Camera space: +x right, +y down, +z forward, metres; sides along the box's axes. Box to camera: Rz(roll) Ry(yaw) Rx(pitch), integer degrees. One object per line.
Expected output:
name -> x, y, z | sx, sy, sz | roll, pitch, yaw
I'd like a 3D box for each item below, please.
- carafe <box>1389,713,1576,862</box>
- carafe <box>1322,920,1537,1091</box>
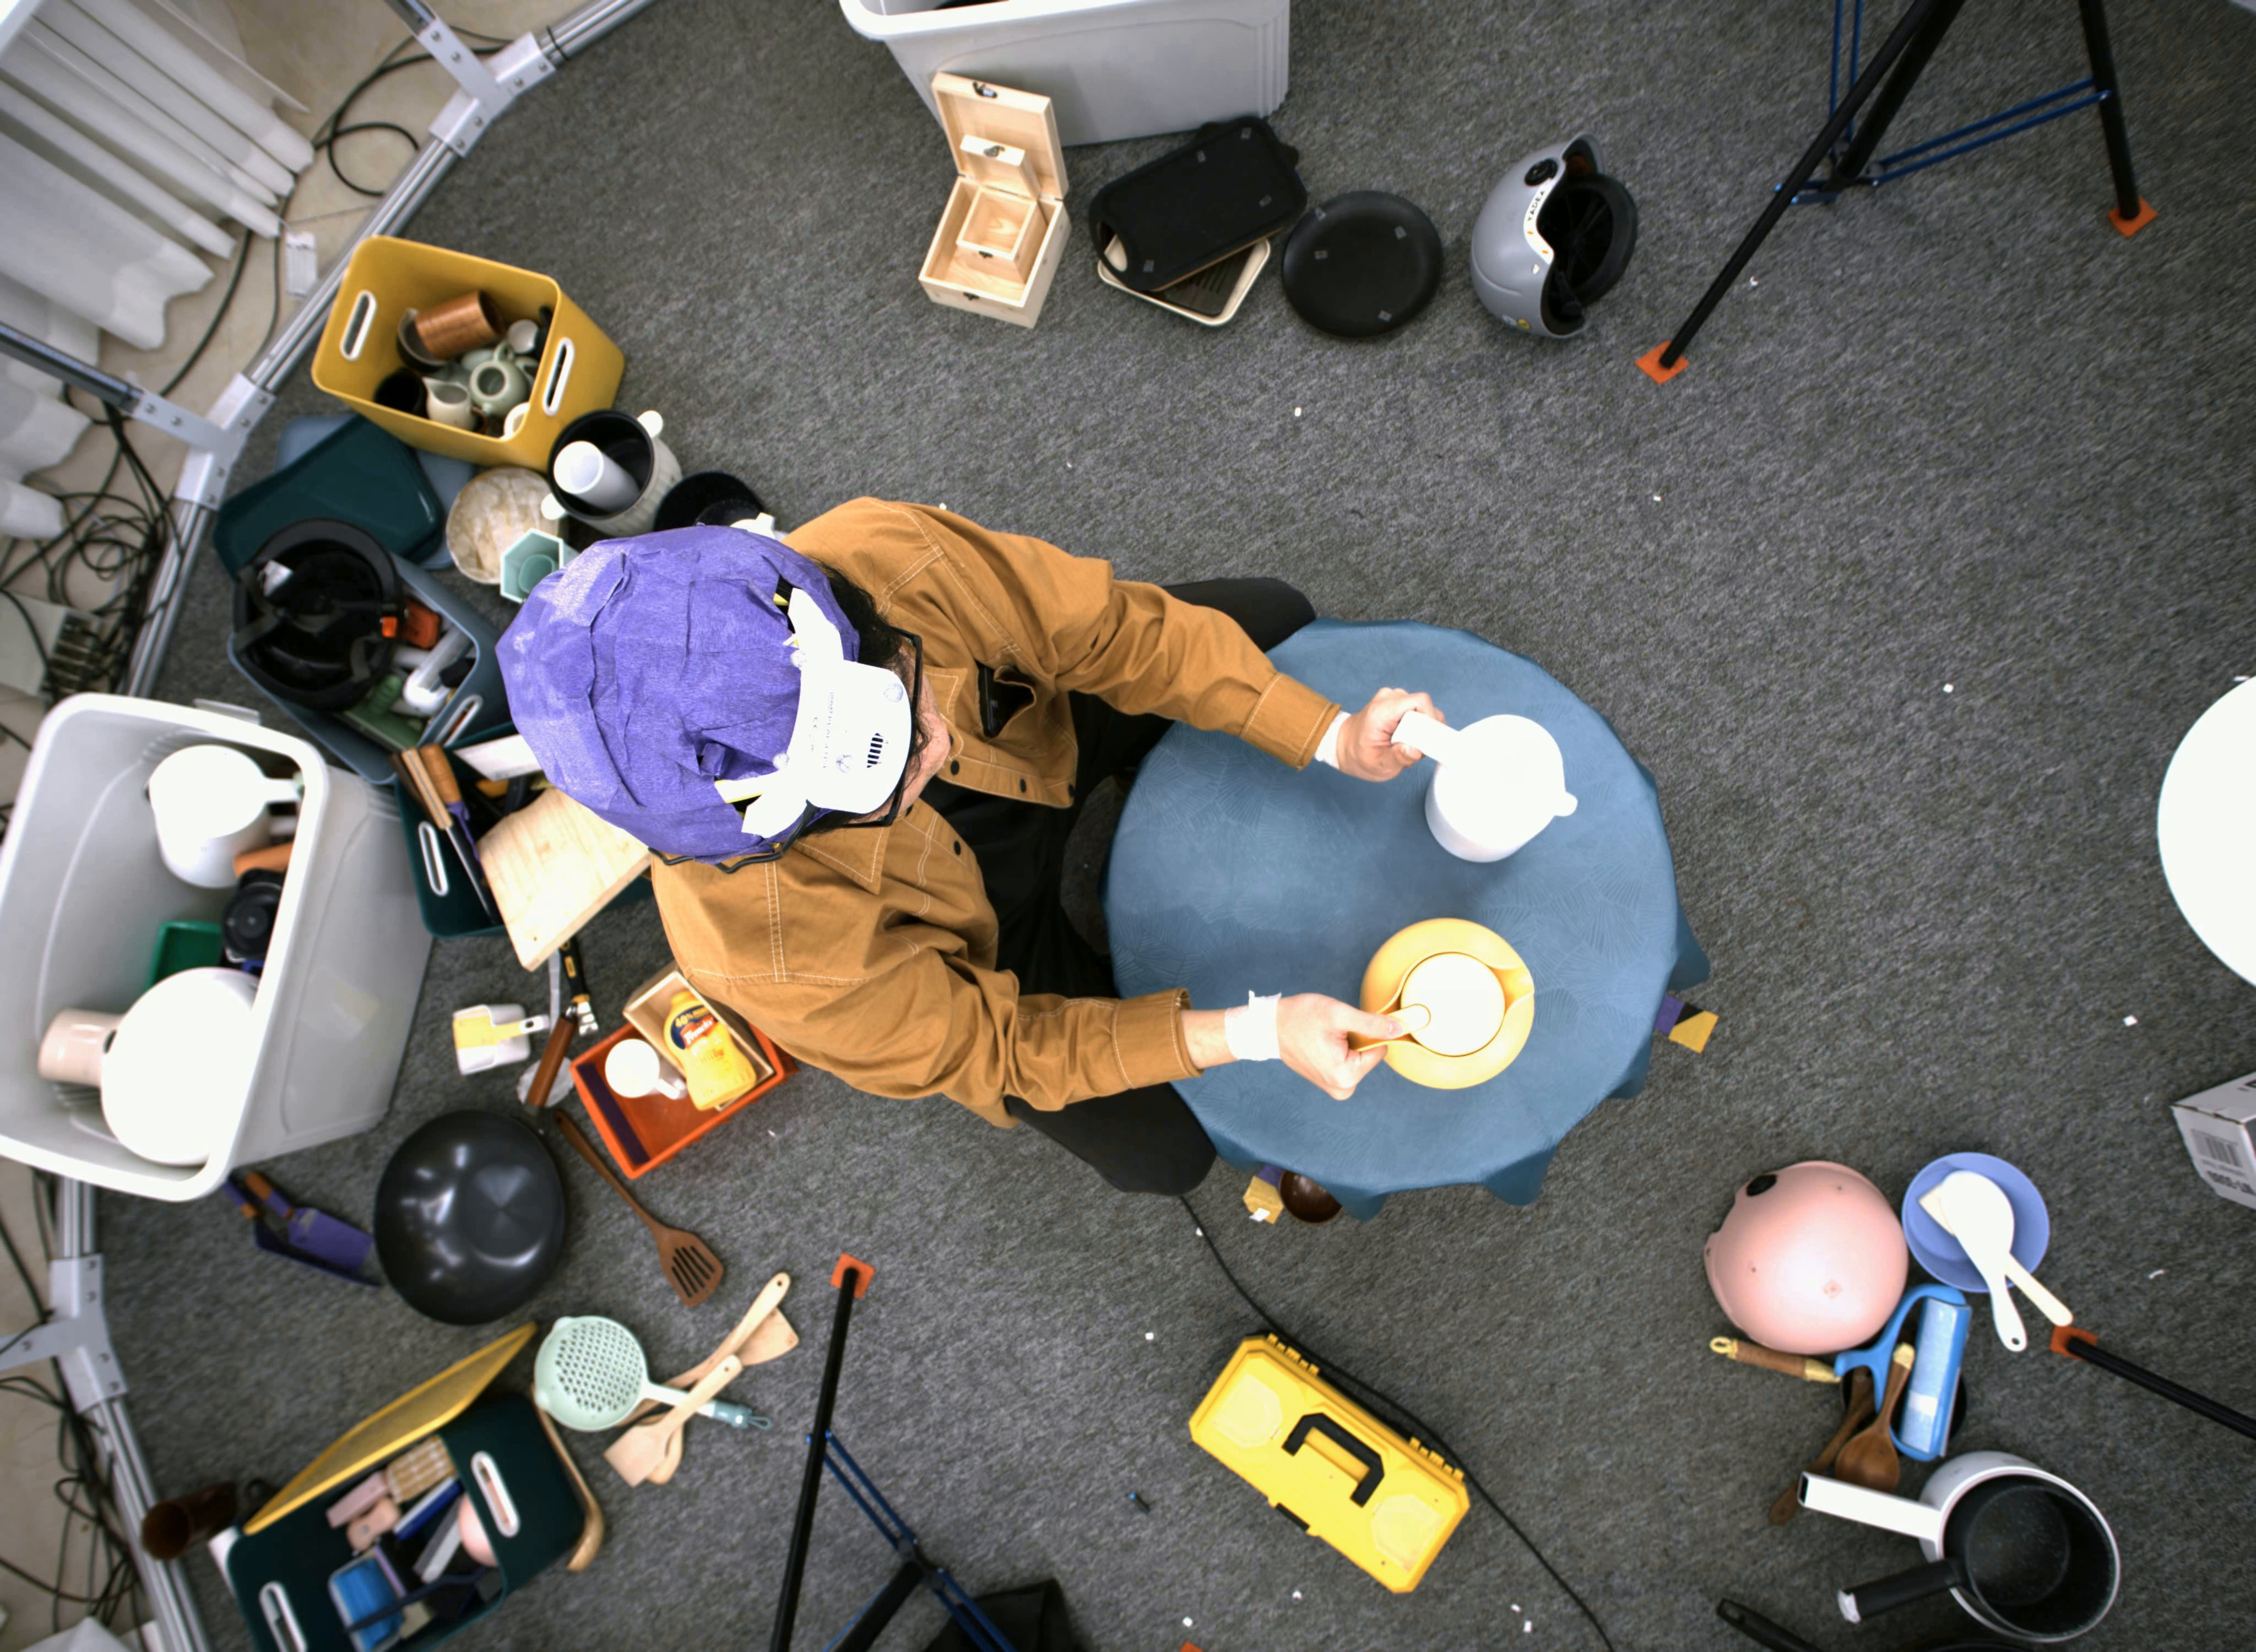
carafe -> 0.333, -0.041, 1.319 | 0.172, 0.268, 0.124 | 28, 92, 12
carafe -> 0.285, 0.174, 1.320 | 0.203, 0.261, 0.162 | -18, 79, 7
